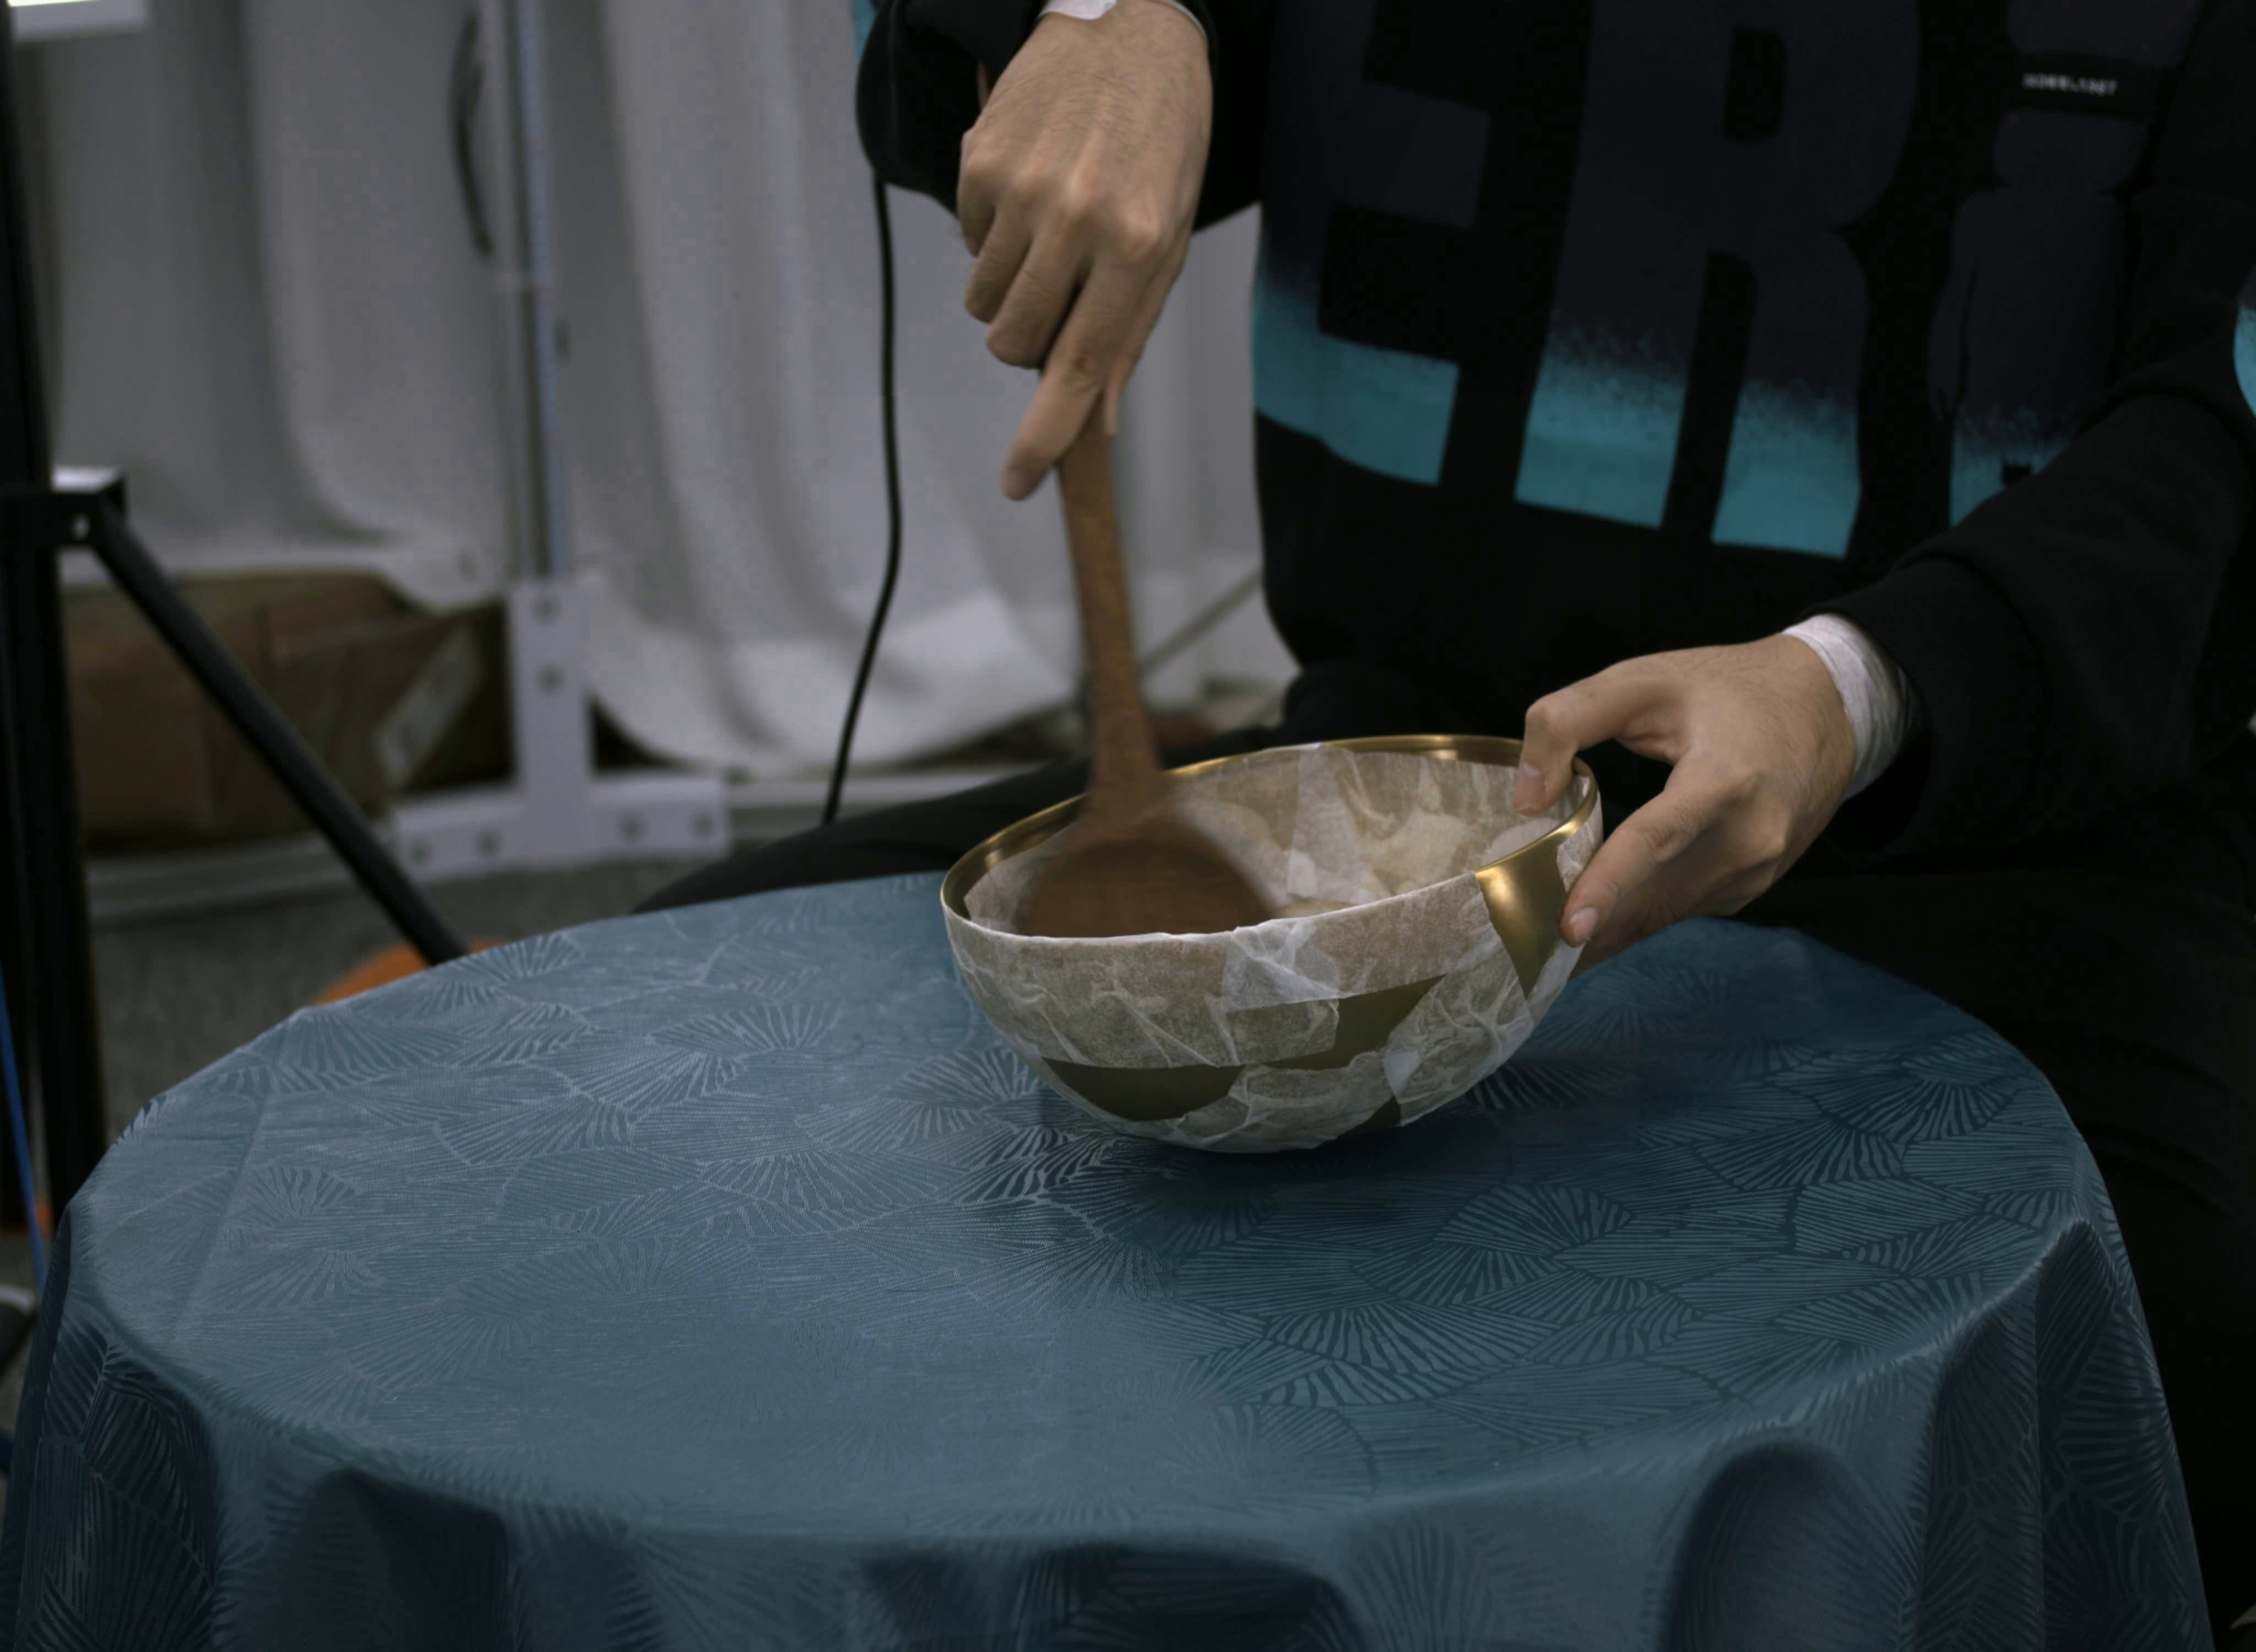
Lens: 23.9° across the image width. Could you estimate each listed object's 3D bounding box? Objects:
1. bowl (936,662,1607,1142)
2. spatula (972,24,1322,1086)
[{"bbox_3d":[0.053,0.035,1.597,0.214,0.094,0.216,-15,20,4],"label":"bowl"},{"bbox_3d":[-0.009,-0.090,1.696,0.094,0.391,0.016,-2,-24,-19],"label":"spatula"}]
